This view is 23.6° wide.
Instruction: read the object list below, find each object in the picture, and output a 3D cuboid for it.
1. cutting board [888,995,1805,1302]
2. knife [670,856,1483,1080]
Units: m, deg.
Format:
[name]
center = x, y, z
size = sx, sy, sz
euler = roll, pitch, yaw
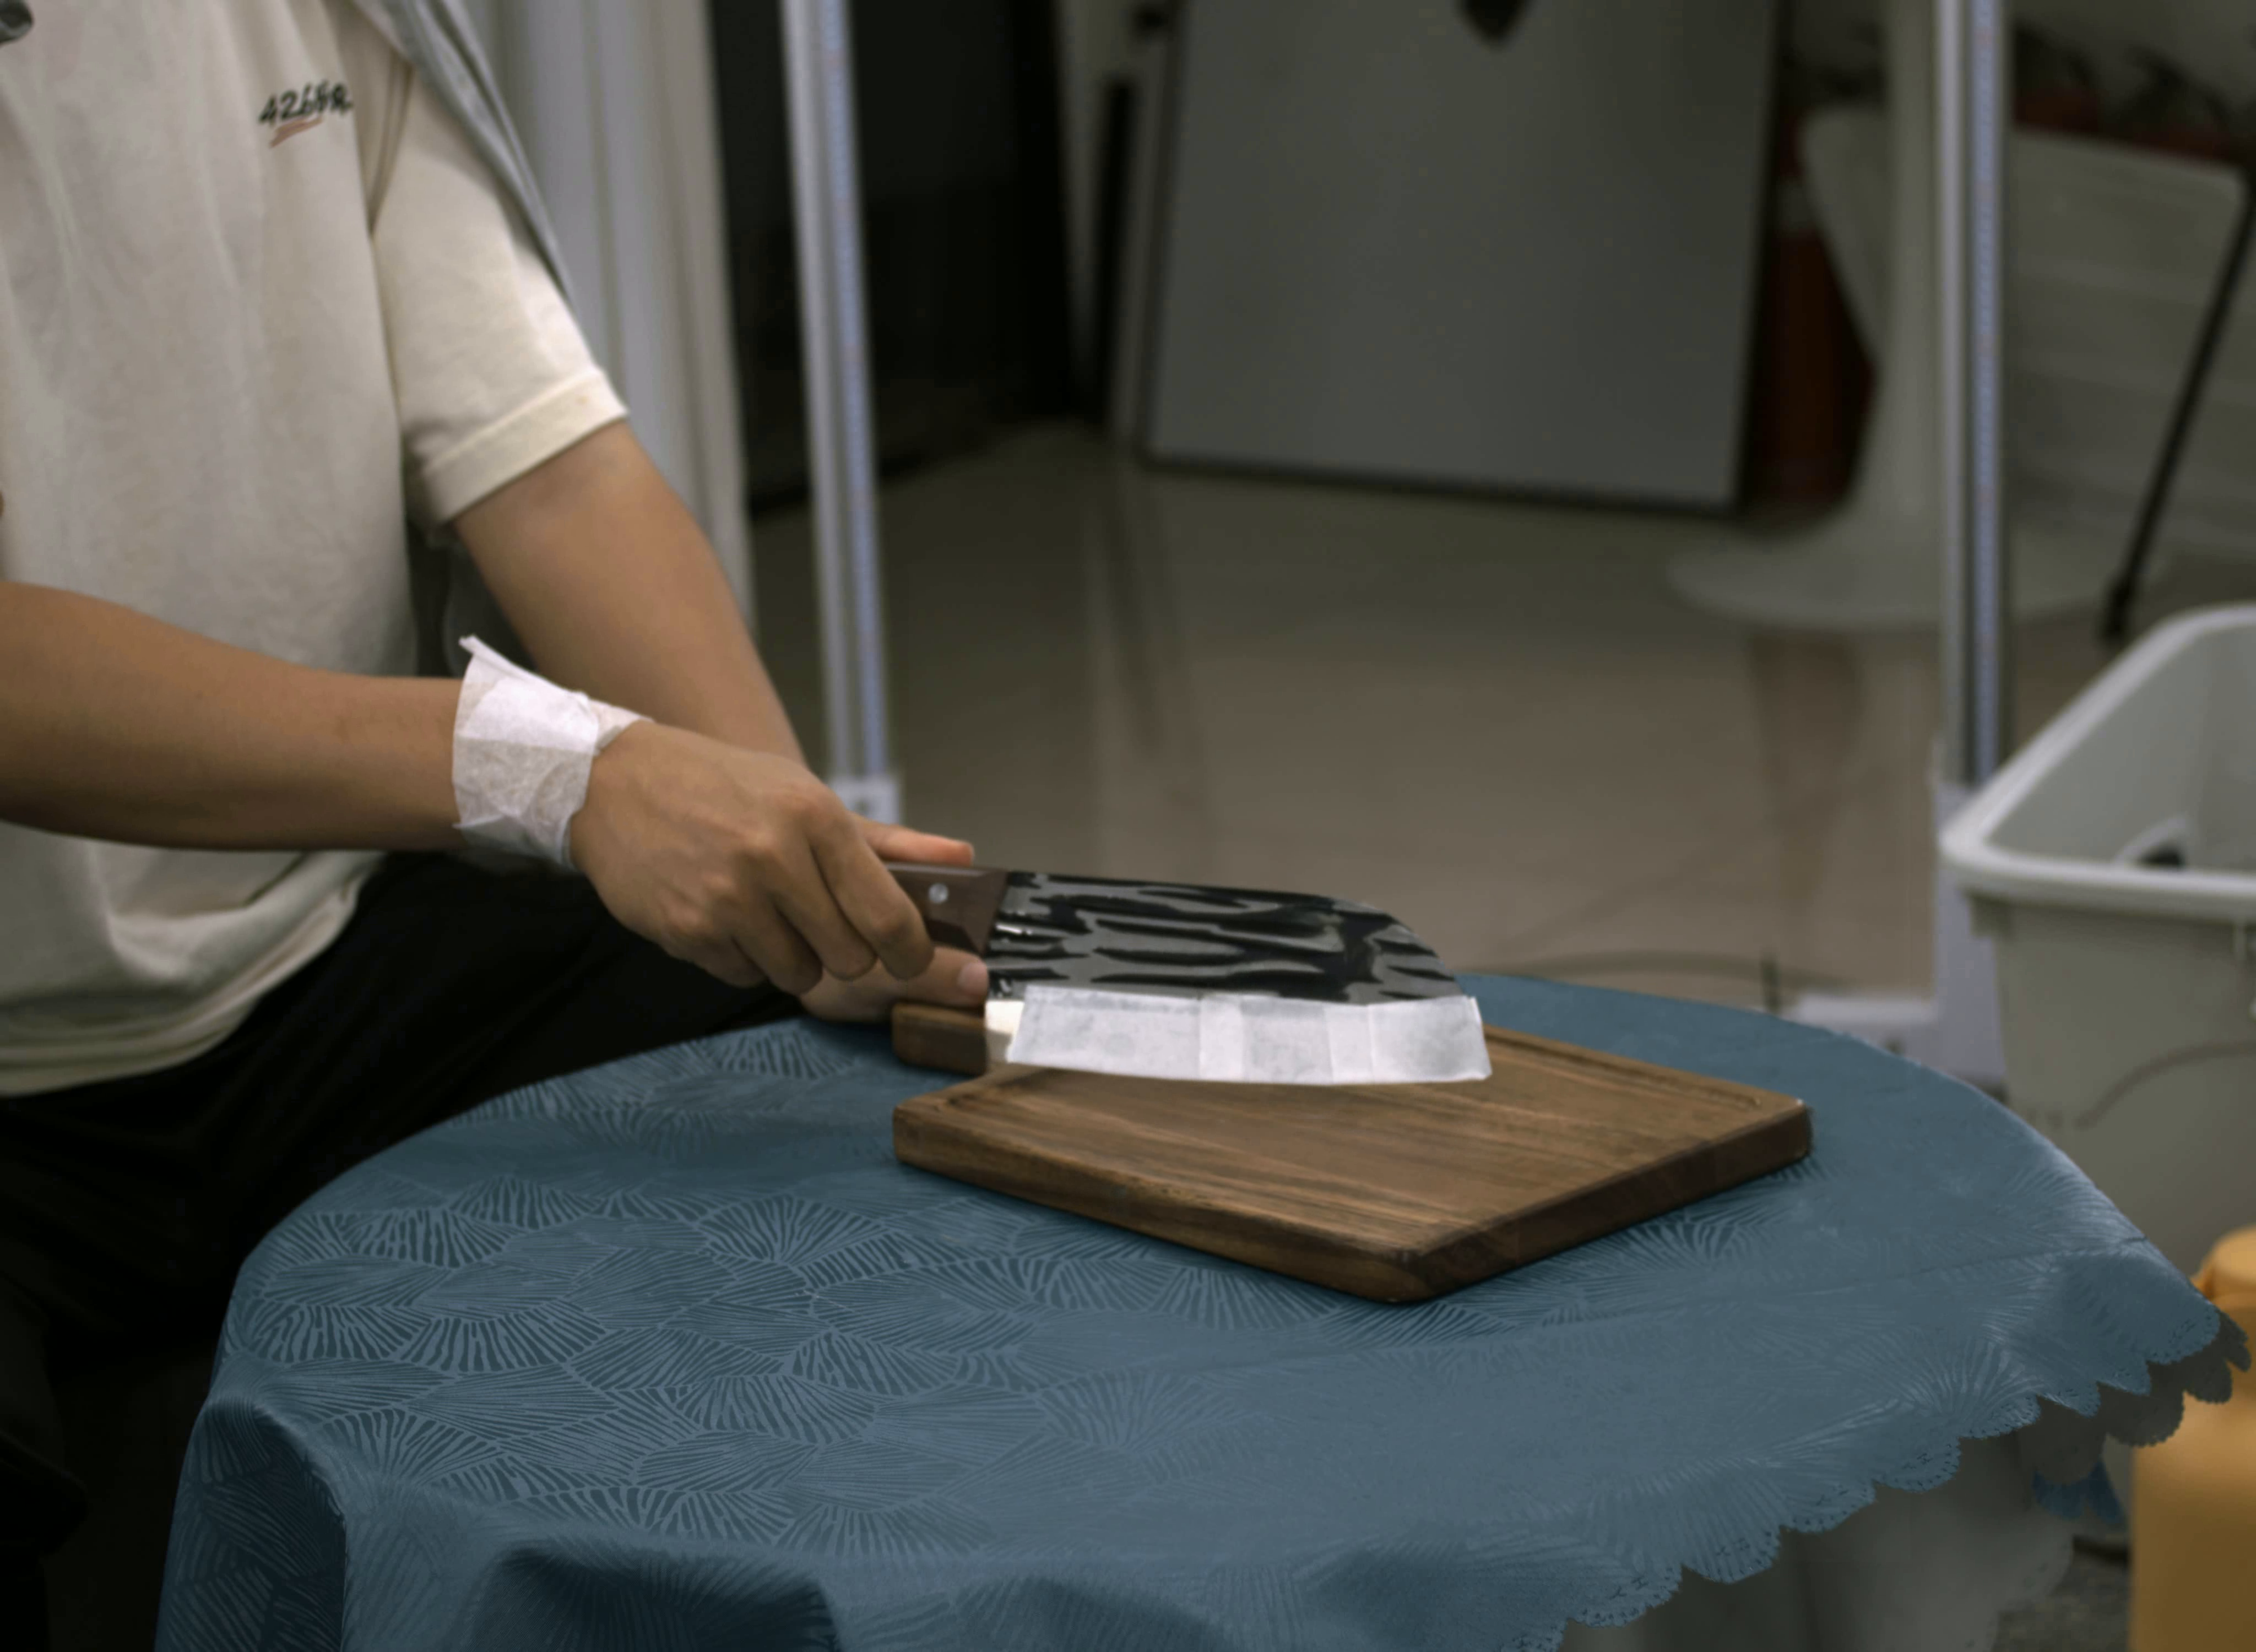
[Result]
[cutting board]
center = 0.039, 0.095, 1.827
size = 0.197, 0.023, 0.356
euler = -16, 17, -39
[knife]
center = -0.020, 0.049, 1.834
size = 0.299, 0.069, 0.024
euler = 5, -13, 18
